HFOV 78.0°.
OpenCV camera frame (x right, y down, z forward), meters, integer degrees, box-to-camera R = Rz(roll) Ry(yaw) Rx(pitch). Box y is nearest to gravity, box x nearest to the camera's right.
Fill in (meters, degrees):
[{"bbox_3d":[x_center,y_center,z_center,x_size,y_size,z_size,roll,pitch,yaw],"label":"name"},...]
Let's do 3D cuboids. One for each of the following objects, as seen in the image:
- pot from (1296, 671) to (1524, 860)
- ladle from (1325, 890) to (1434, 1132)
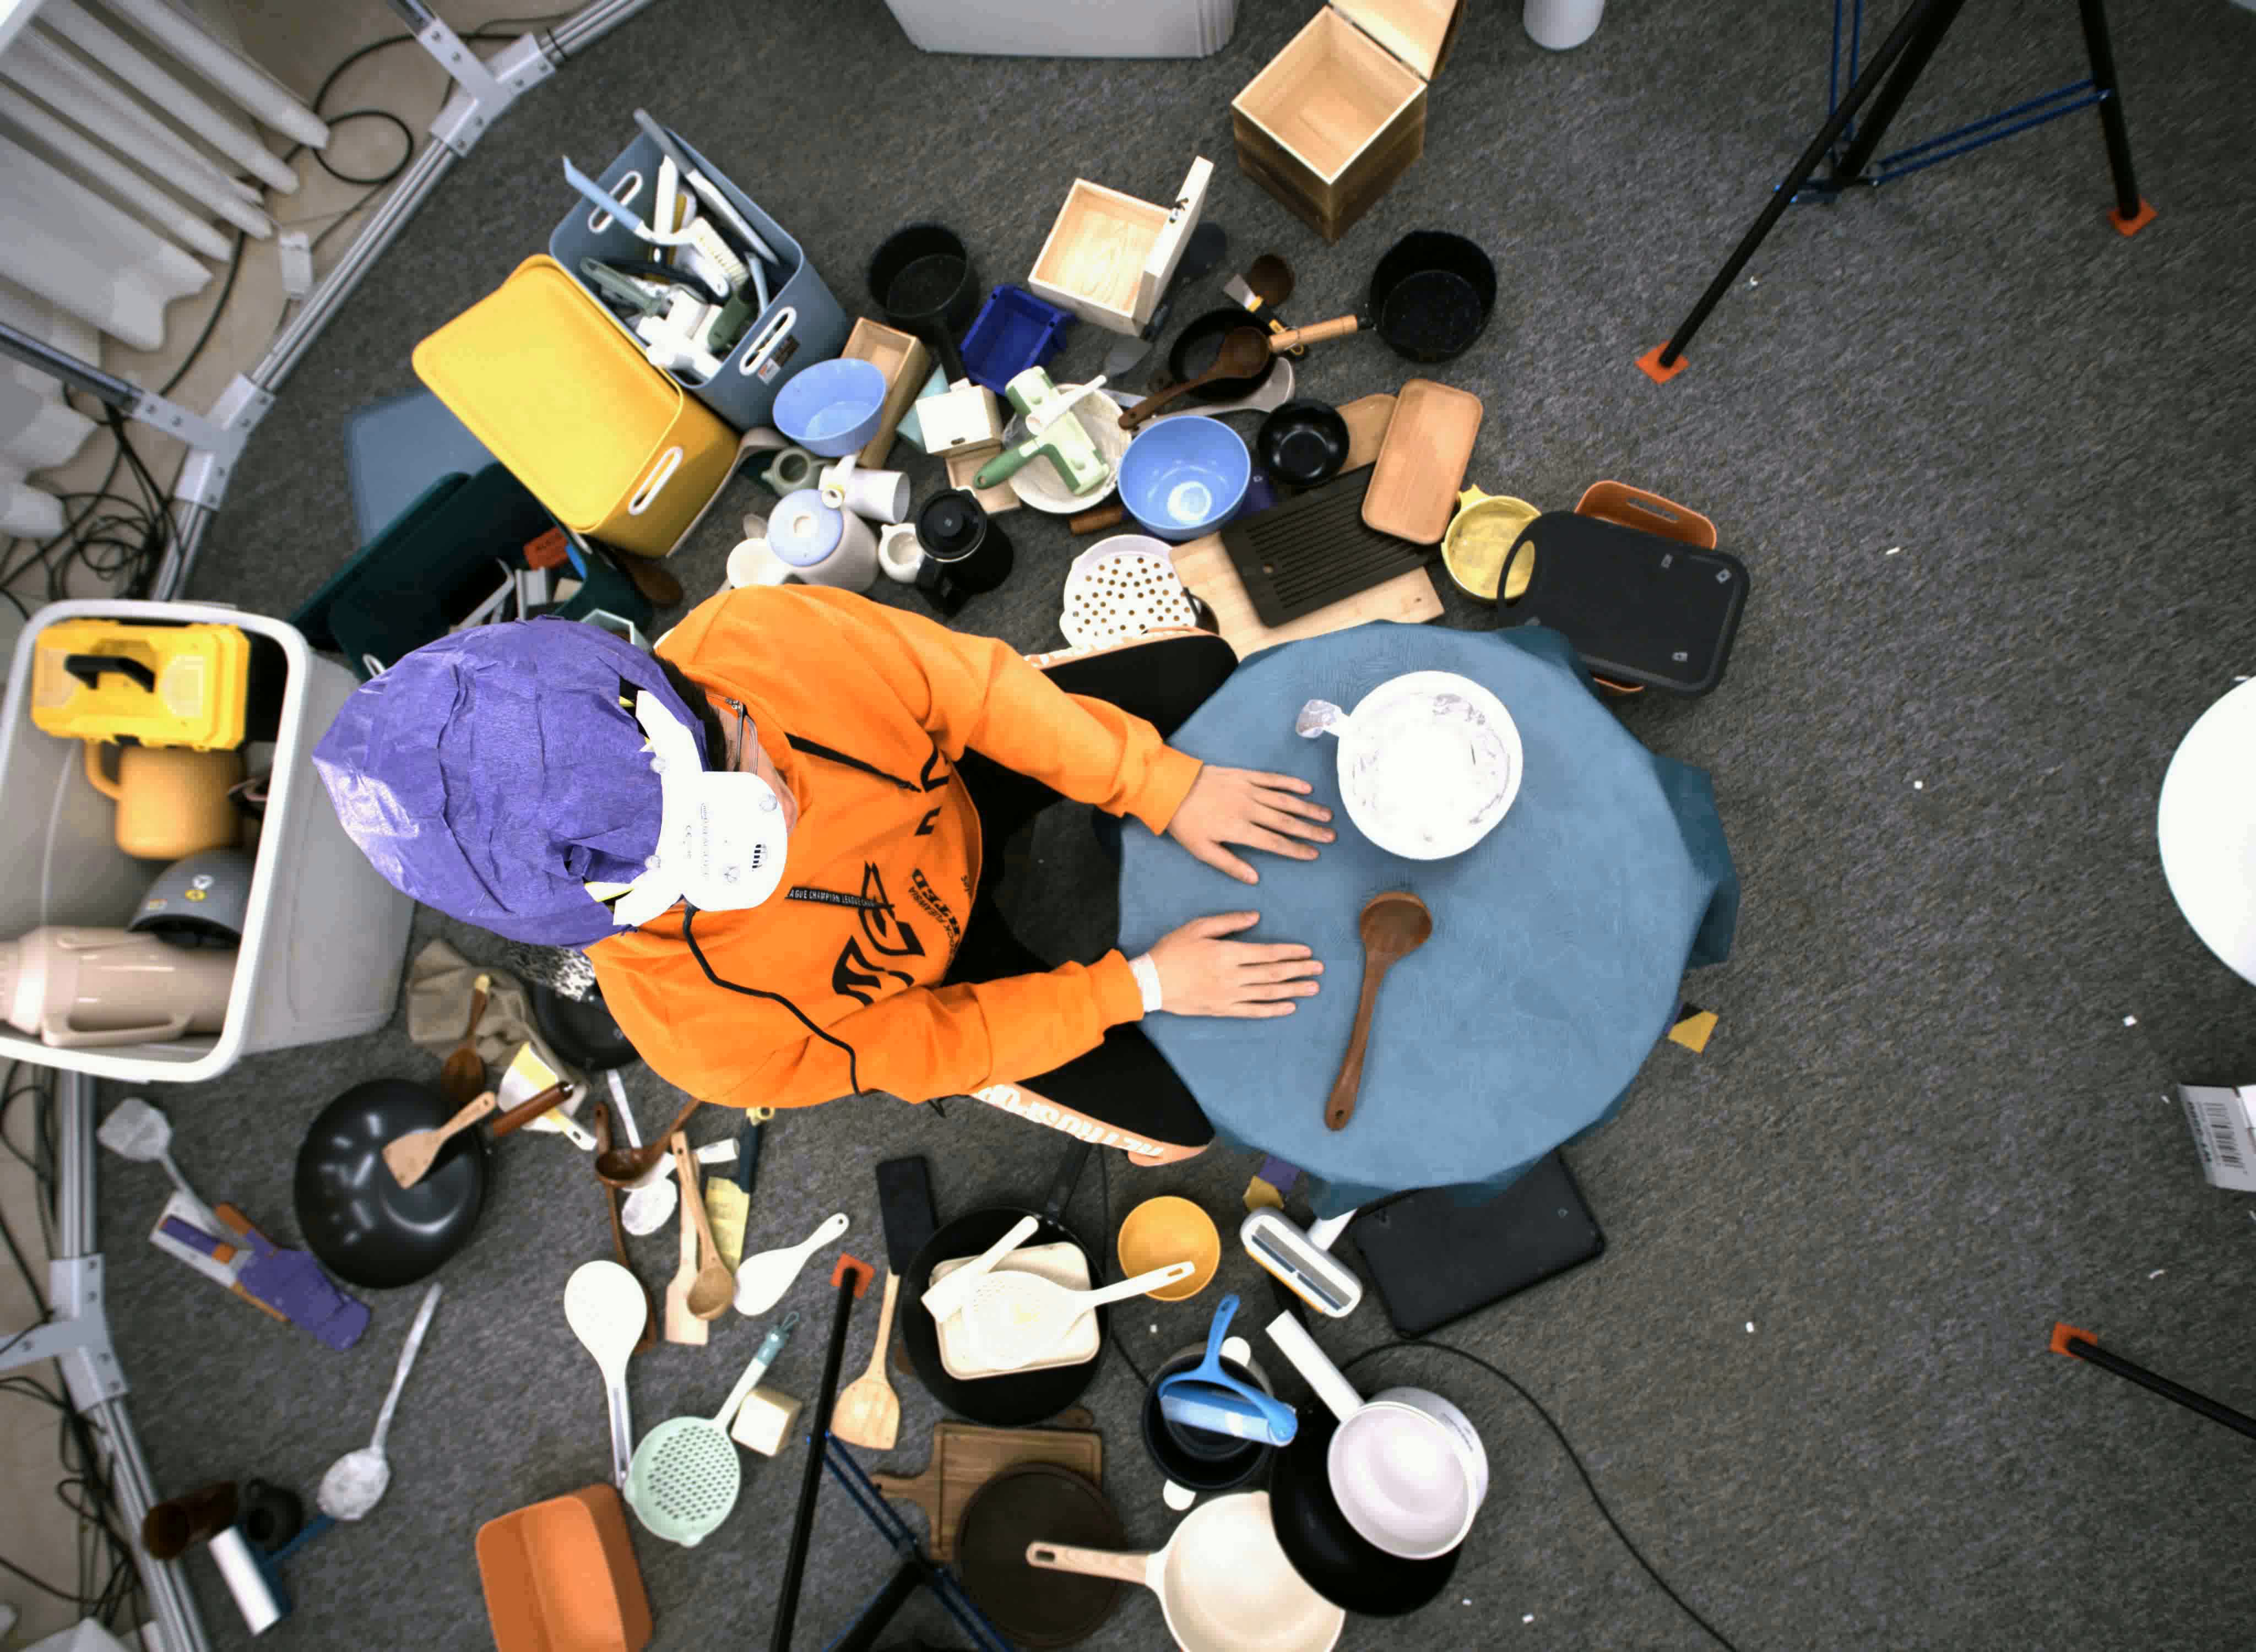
[{"bbox_3d":[0.278,-0.069,1.397,0.233,0.137,0.179,25,90,11],"label":"pot"},{"bbox_3d":[0.250,0.191,1.425,0.076,0.065,0.260,16,89,3],"label":"ladle"}]
